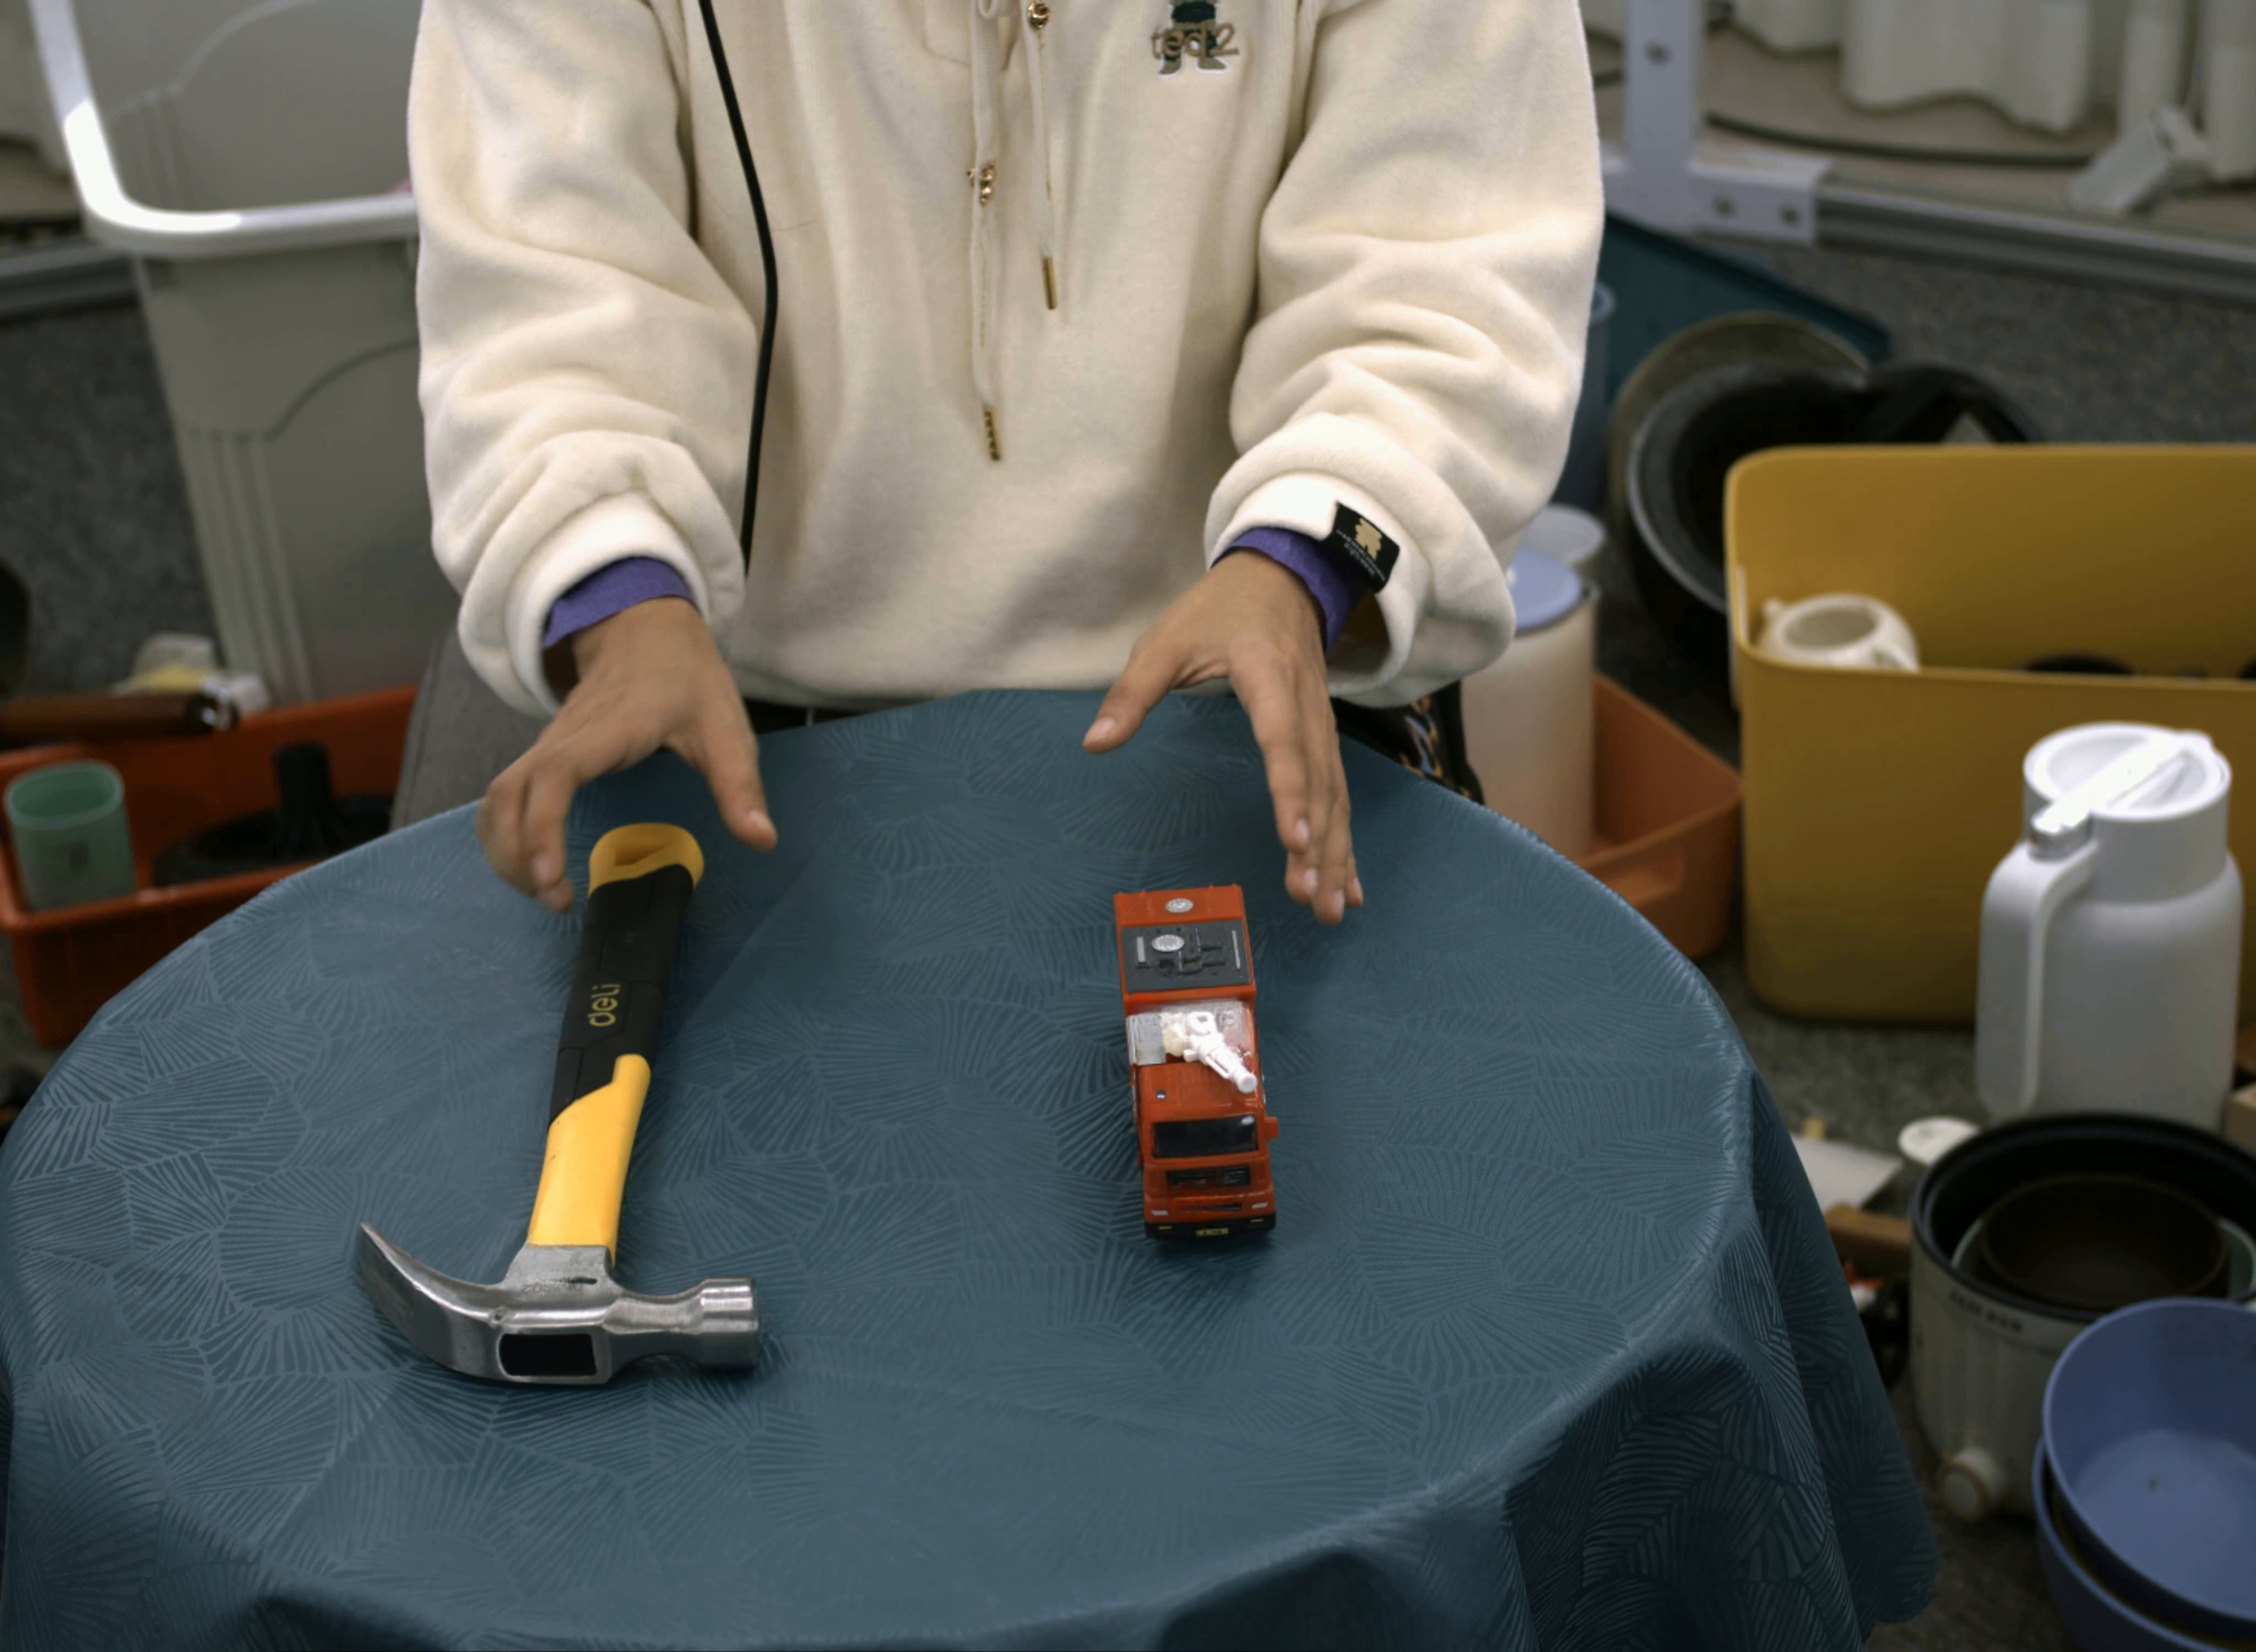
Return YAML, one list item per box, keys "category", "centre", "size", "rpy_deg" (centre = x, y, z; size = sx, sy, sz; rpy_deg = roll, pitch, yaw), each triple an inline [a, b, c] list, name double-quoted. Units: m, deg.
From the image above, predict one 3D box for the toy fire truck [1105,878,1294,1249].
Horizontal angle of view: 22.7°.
- category: "toy fire truck"
  centre: [0.023, 0.078, 1.880]
  size: [0.054, 0.069, 0.170]
  rpy_deg: [-4, 26, -2]

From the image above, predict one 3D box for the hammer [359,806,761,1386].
- category: "hammer"
  centre: [-0.179, 0.084, 1.910]
  size: [0.131, 0.032, 0.344]
  rpy_deg: [-3, 29, 3]
